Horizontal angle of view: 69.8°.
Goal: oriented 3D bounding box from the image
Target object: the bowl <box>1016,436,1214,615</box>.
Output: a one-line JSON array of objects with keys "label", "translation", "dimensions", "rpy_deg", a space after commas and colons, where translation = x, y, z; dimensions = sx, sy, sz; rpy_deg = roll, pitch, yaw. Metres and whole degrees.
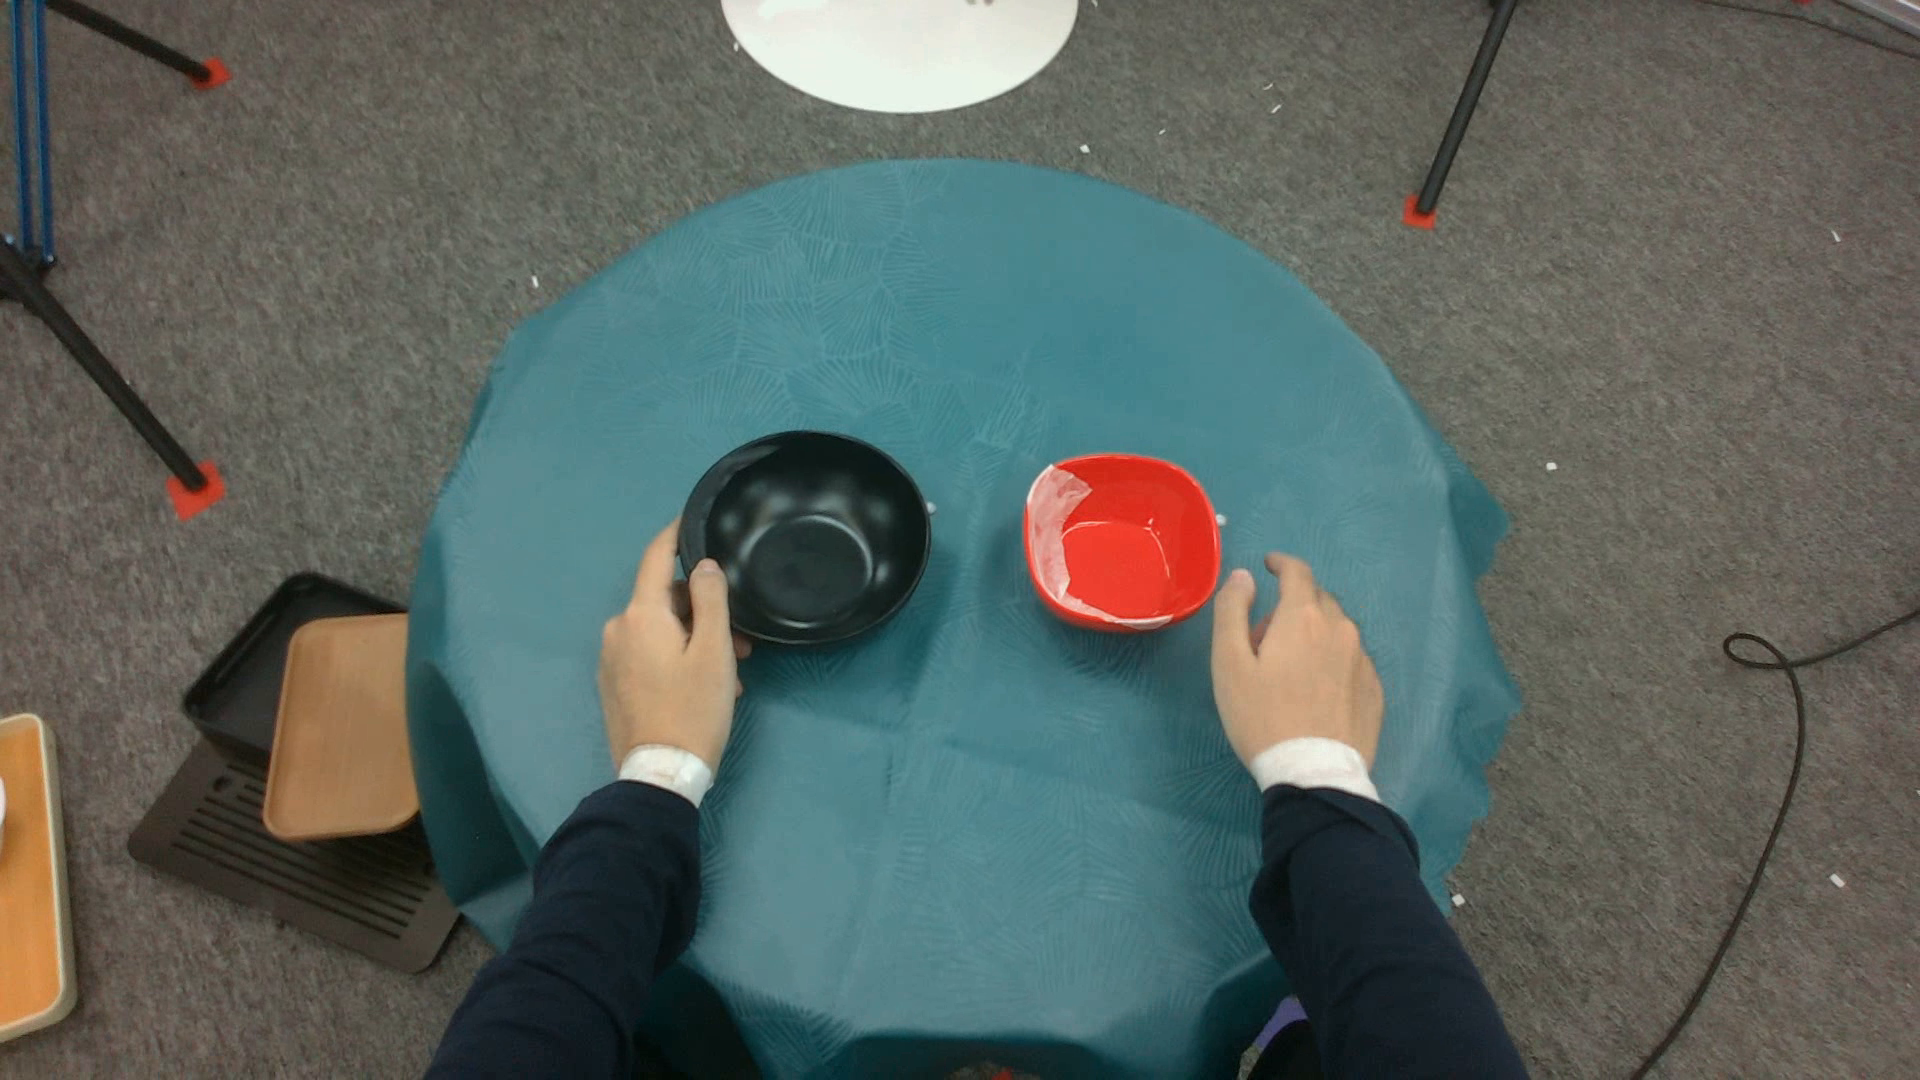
[{"label": "bowl", "translation": [0.084, 0.000, 0.780], "dimensions": [0.119, 0.051, 0.119], "rpy_deg": [2, 58, -4]}]

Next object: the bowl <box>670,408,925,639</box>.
[{"label": "bowl", "translation": [-0.090, -0.003, 0.773], "dimensions": [0.140, 0.049, 0.140], "rpy_deg": [2, 63, -3]}]
